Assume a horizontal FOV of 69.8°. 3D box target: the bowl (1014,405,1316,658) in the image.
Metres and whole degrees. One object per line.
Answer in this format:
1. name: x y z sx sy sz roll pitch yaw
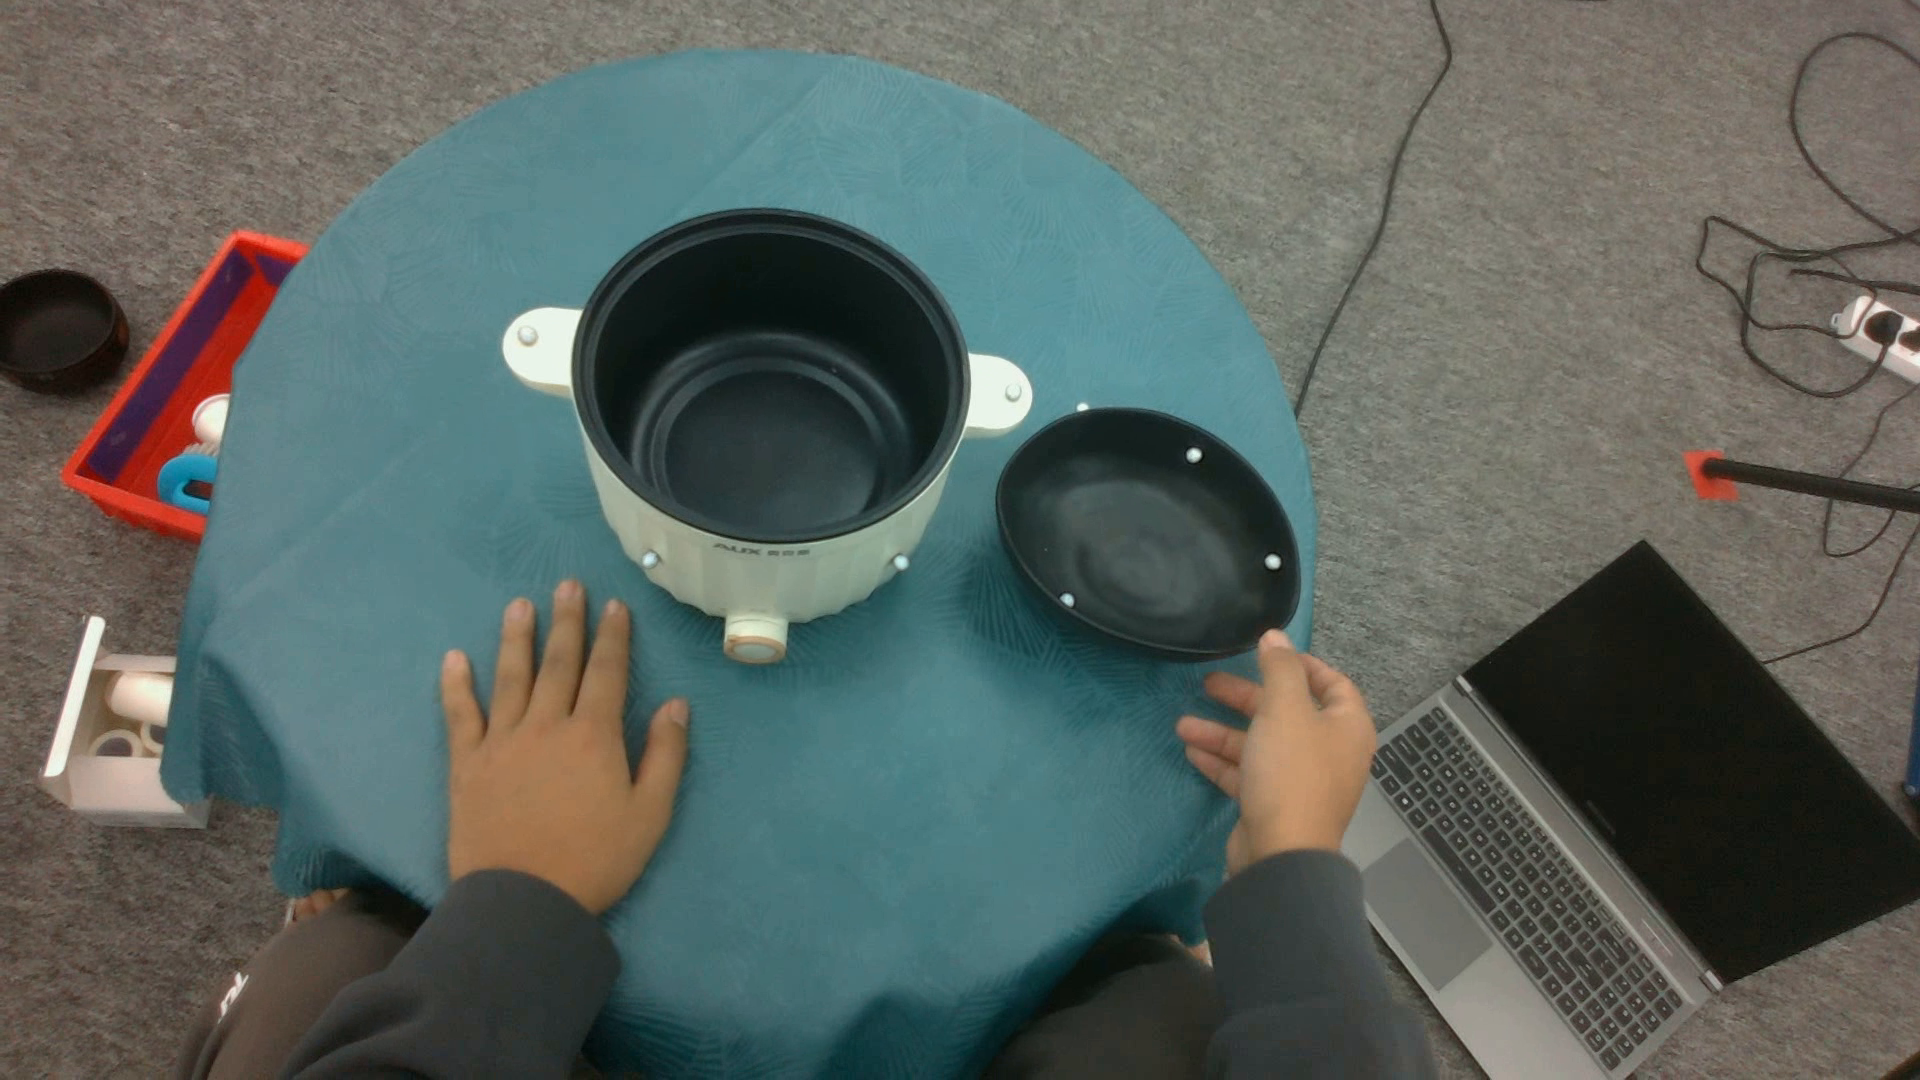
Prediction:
1. bowl: 0.108 0.003 0.747 0.170 0.066 0.138 20 63 1

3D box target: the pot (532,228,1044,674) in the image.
1. pot: -0.084 -0.041 0.702 0.240 0.142 0.191 1 60 -6
